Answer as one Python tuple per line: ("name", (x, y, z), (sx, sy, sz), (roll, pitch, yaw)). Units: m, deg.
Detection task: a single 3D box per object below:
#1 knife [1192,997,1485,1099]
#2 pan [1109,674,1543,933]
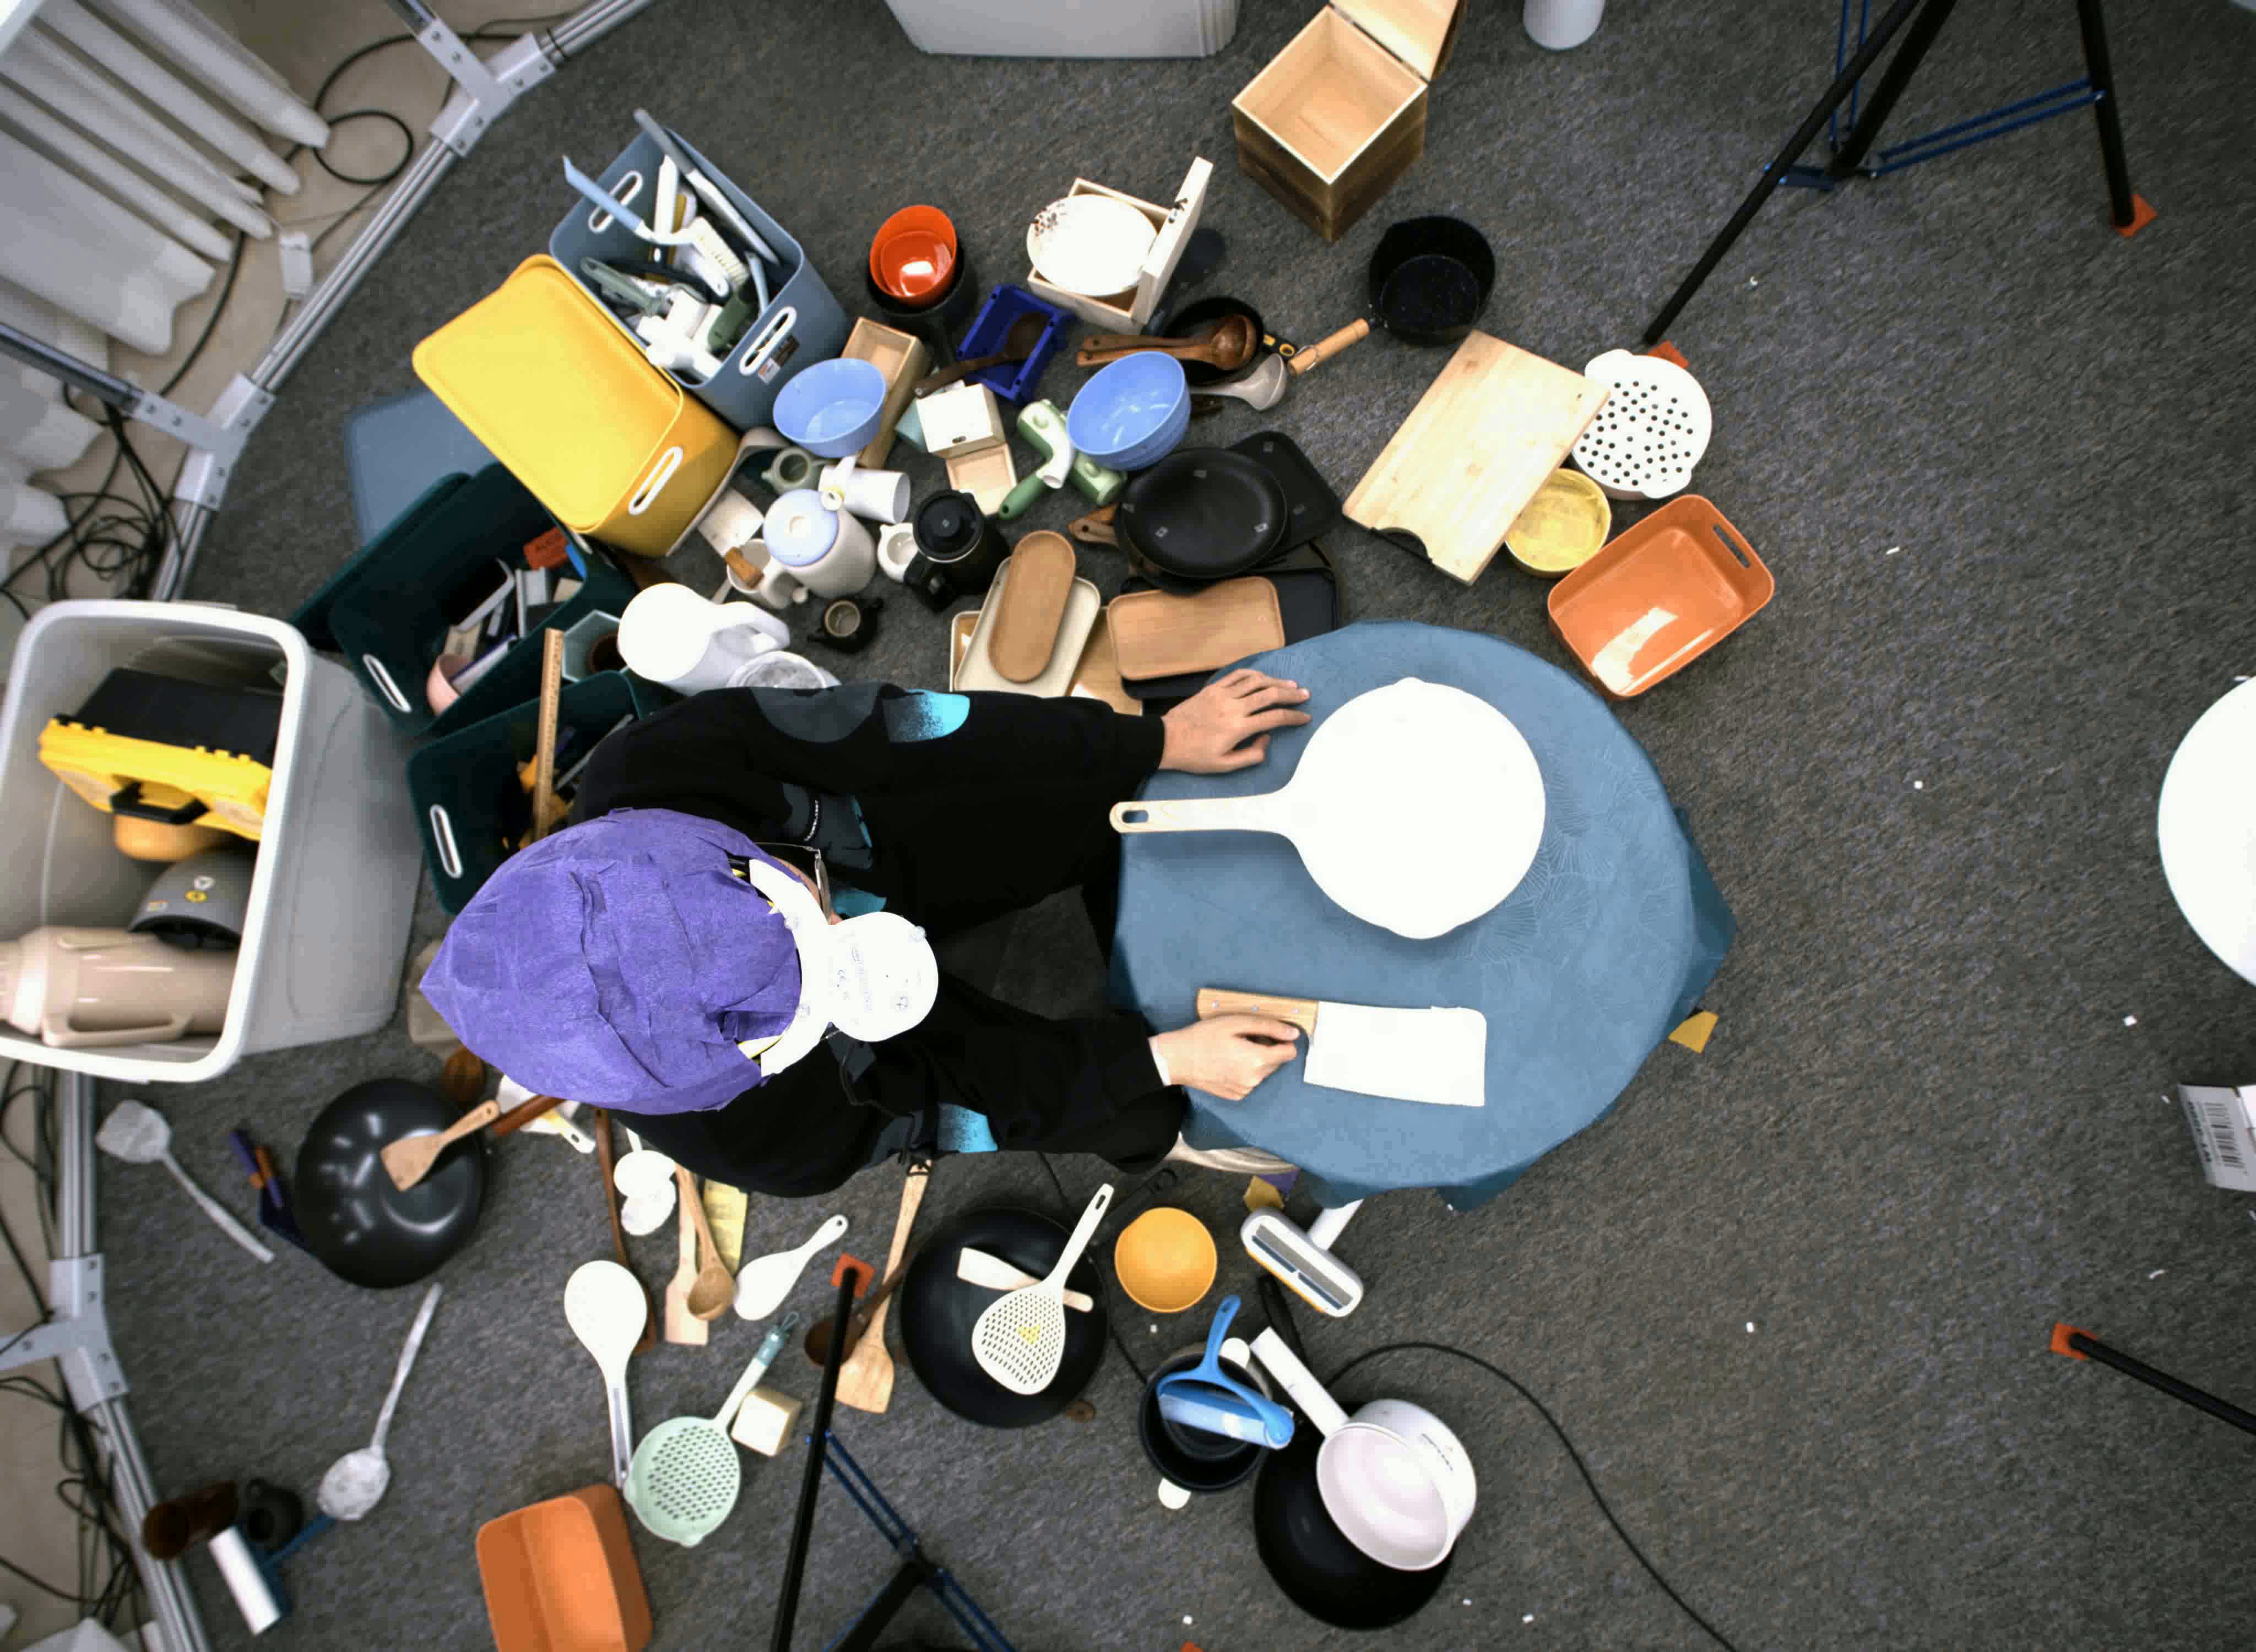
("knife", (0.222, 0.218, 1.452), (0.316, 0.022, 0.113), (10, 89, 8))
("pan", (0.202, -0.016, 1.428), (0.437, 0.102, 0.262), (-4, 88, 10))
